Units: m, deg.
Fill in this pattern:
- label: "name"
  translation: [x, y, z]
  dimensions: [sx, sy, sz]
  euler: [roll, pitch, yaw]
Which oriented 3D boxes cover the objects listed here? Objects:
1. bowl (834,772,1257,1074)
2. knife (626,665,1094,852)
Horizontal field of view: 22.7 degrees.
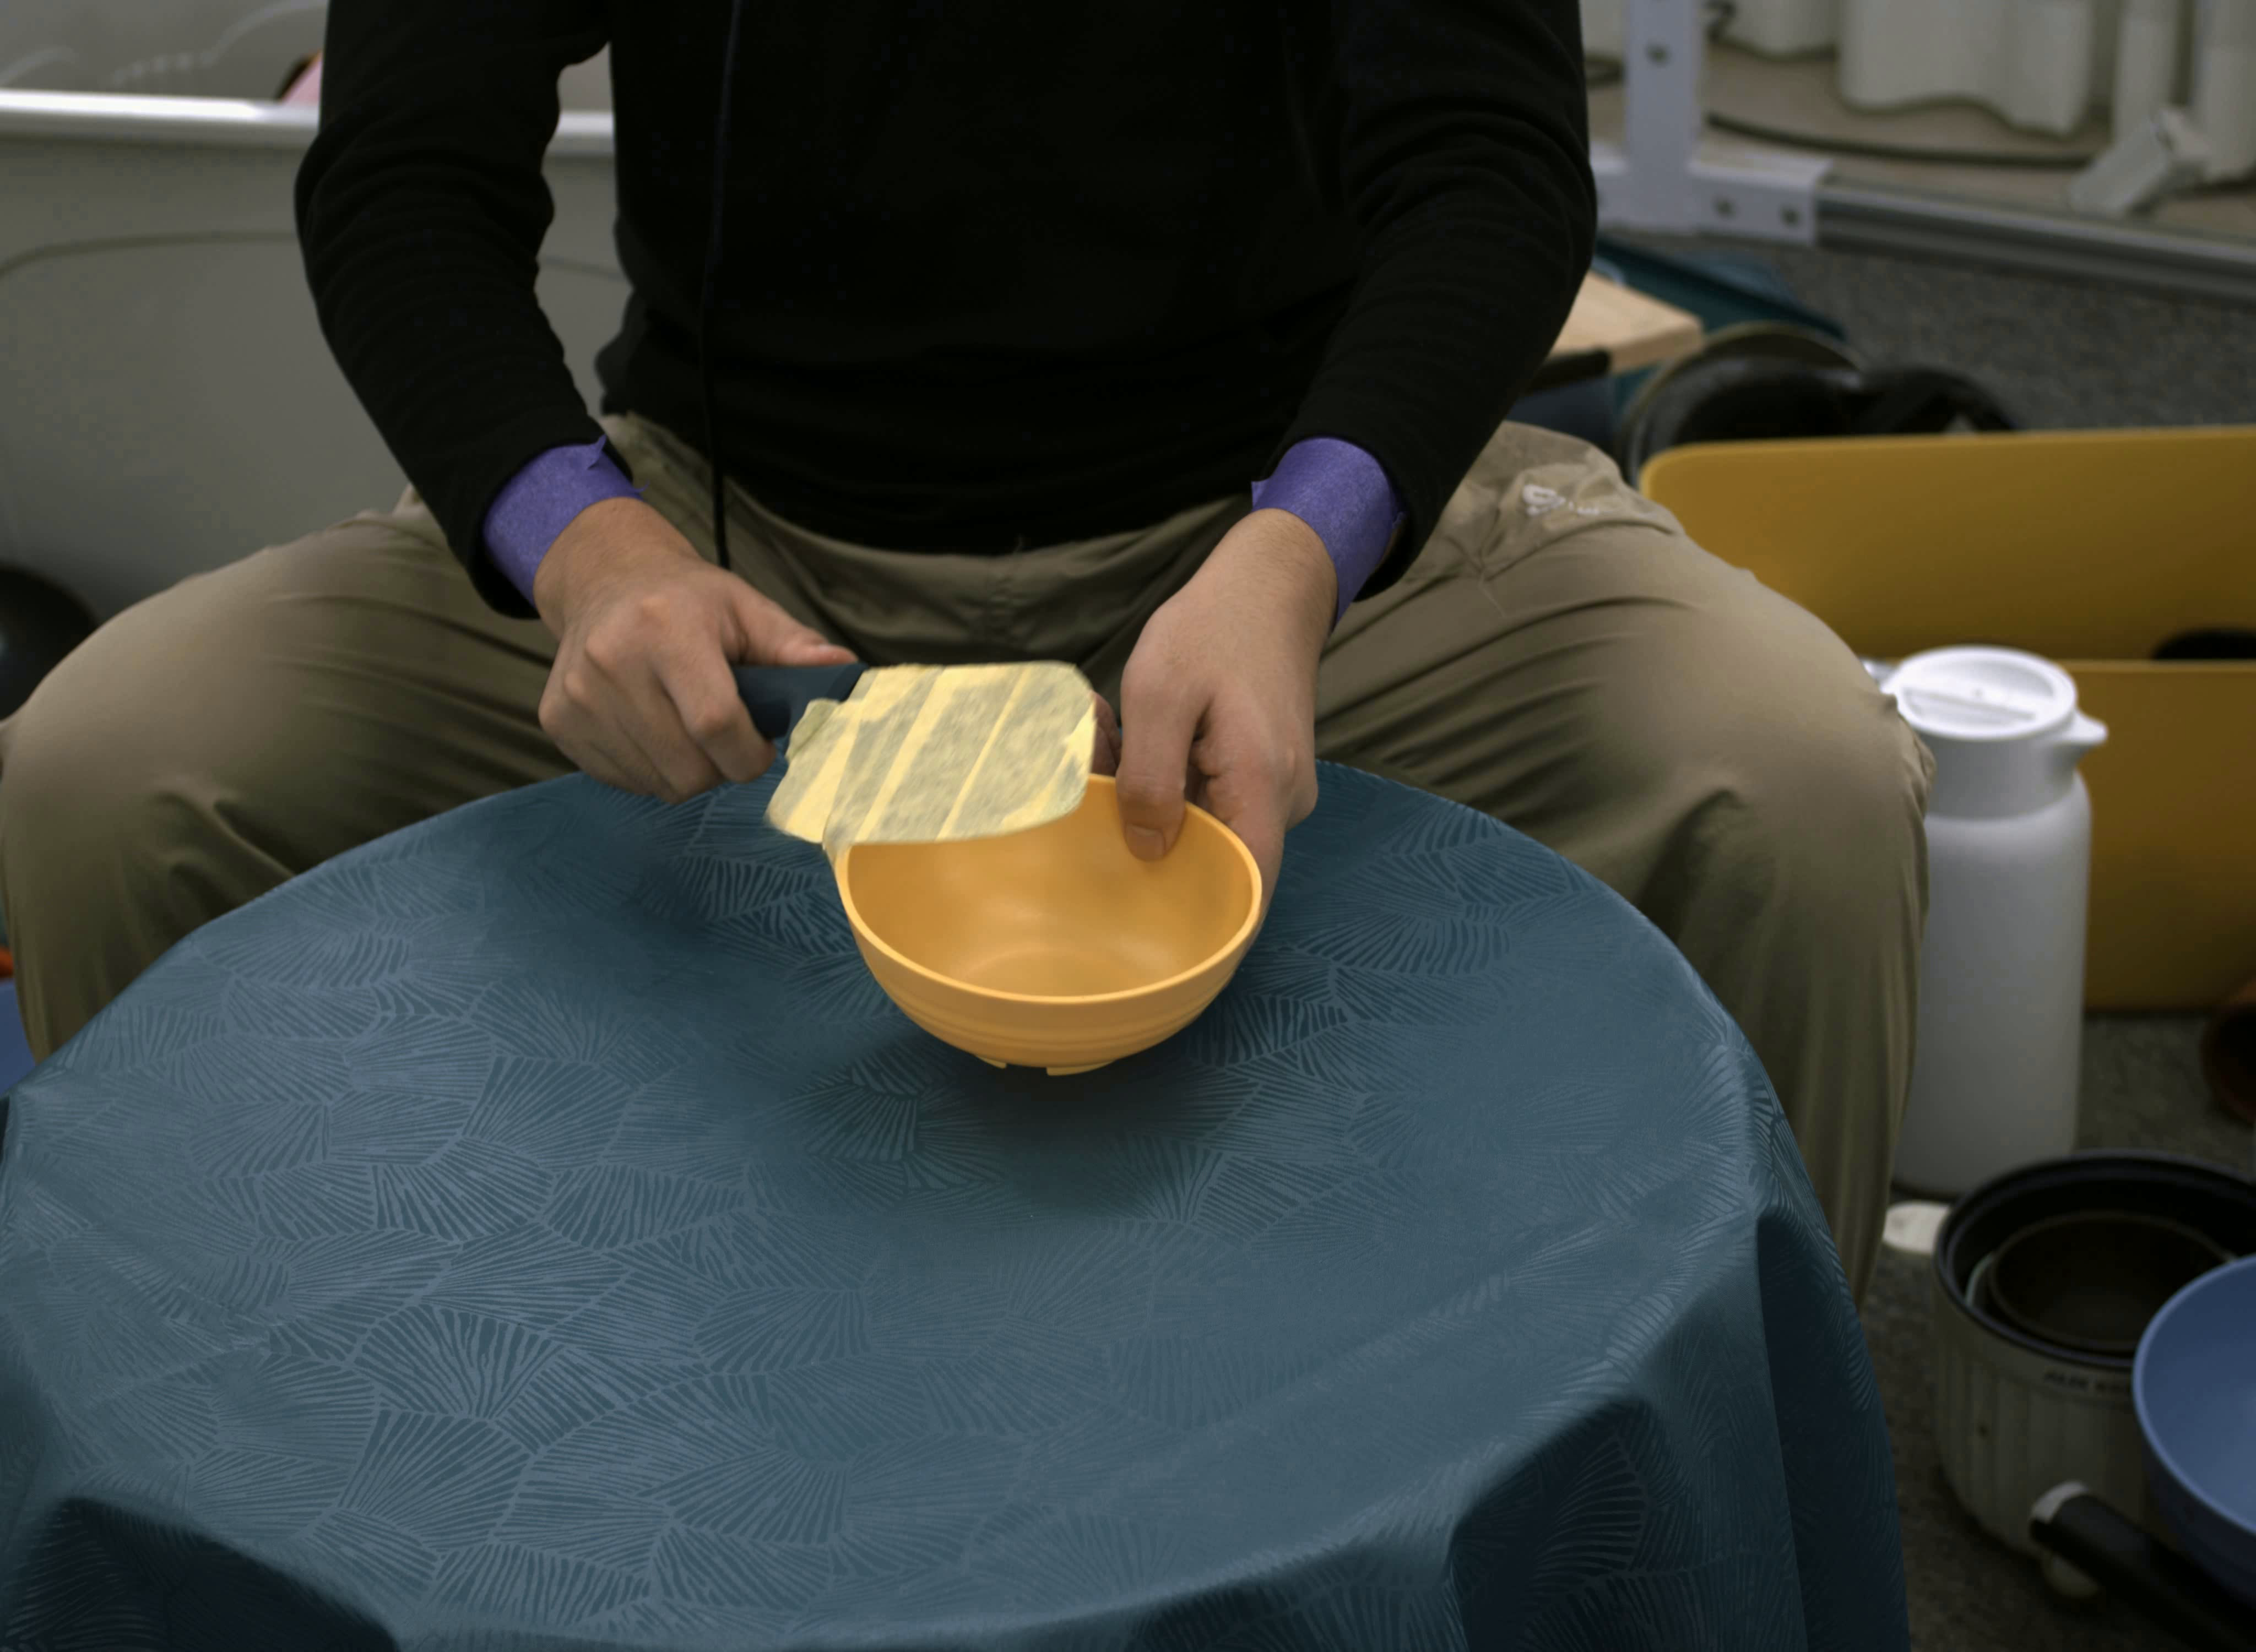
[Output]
- label: "bowl"
  translation: [-0.030, 0.043, 1.923]
  dimensions: [0.145, 0.059, 0.148]
  euler: [4, 31, -2]
- label: "knife"
  translation: [-0.098, -0.023, 1.945]
  dimensions: [0.287, 0.027, 0.082]
  euler: [1, 54, 54]
